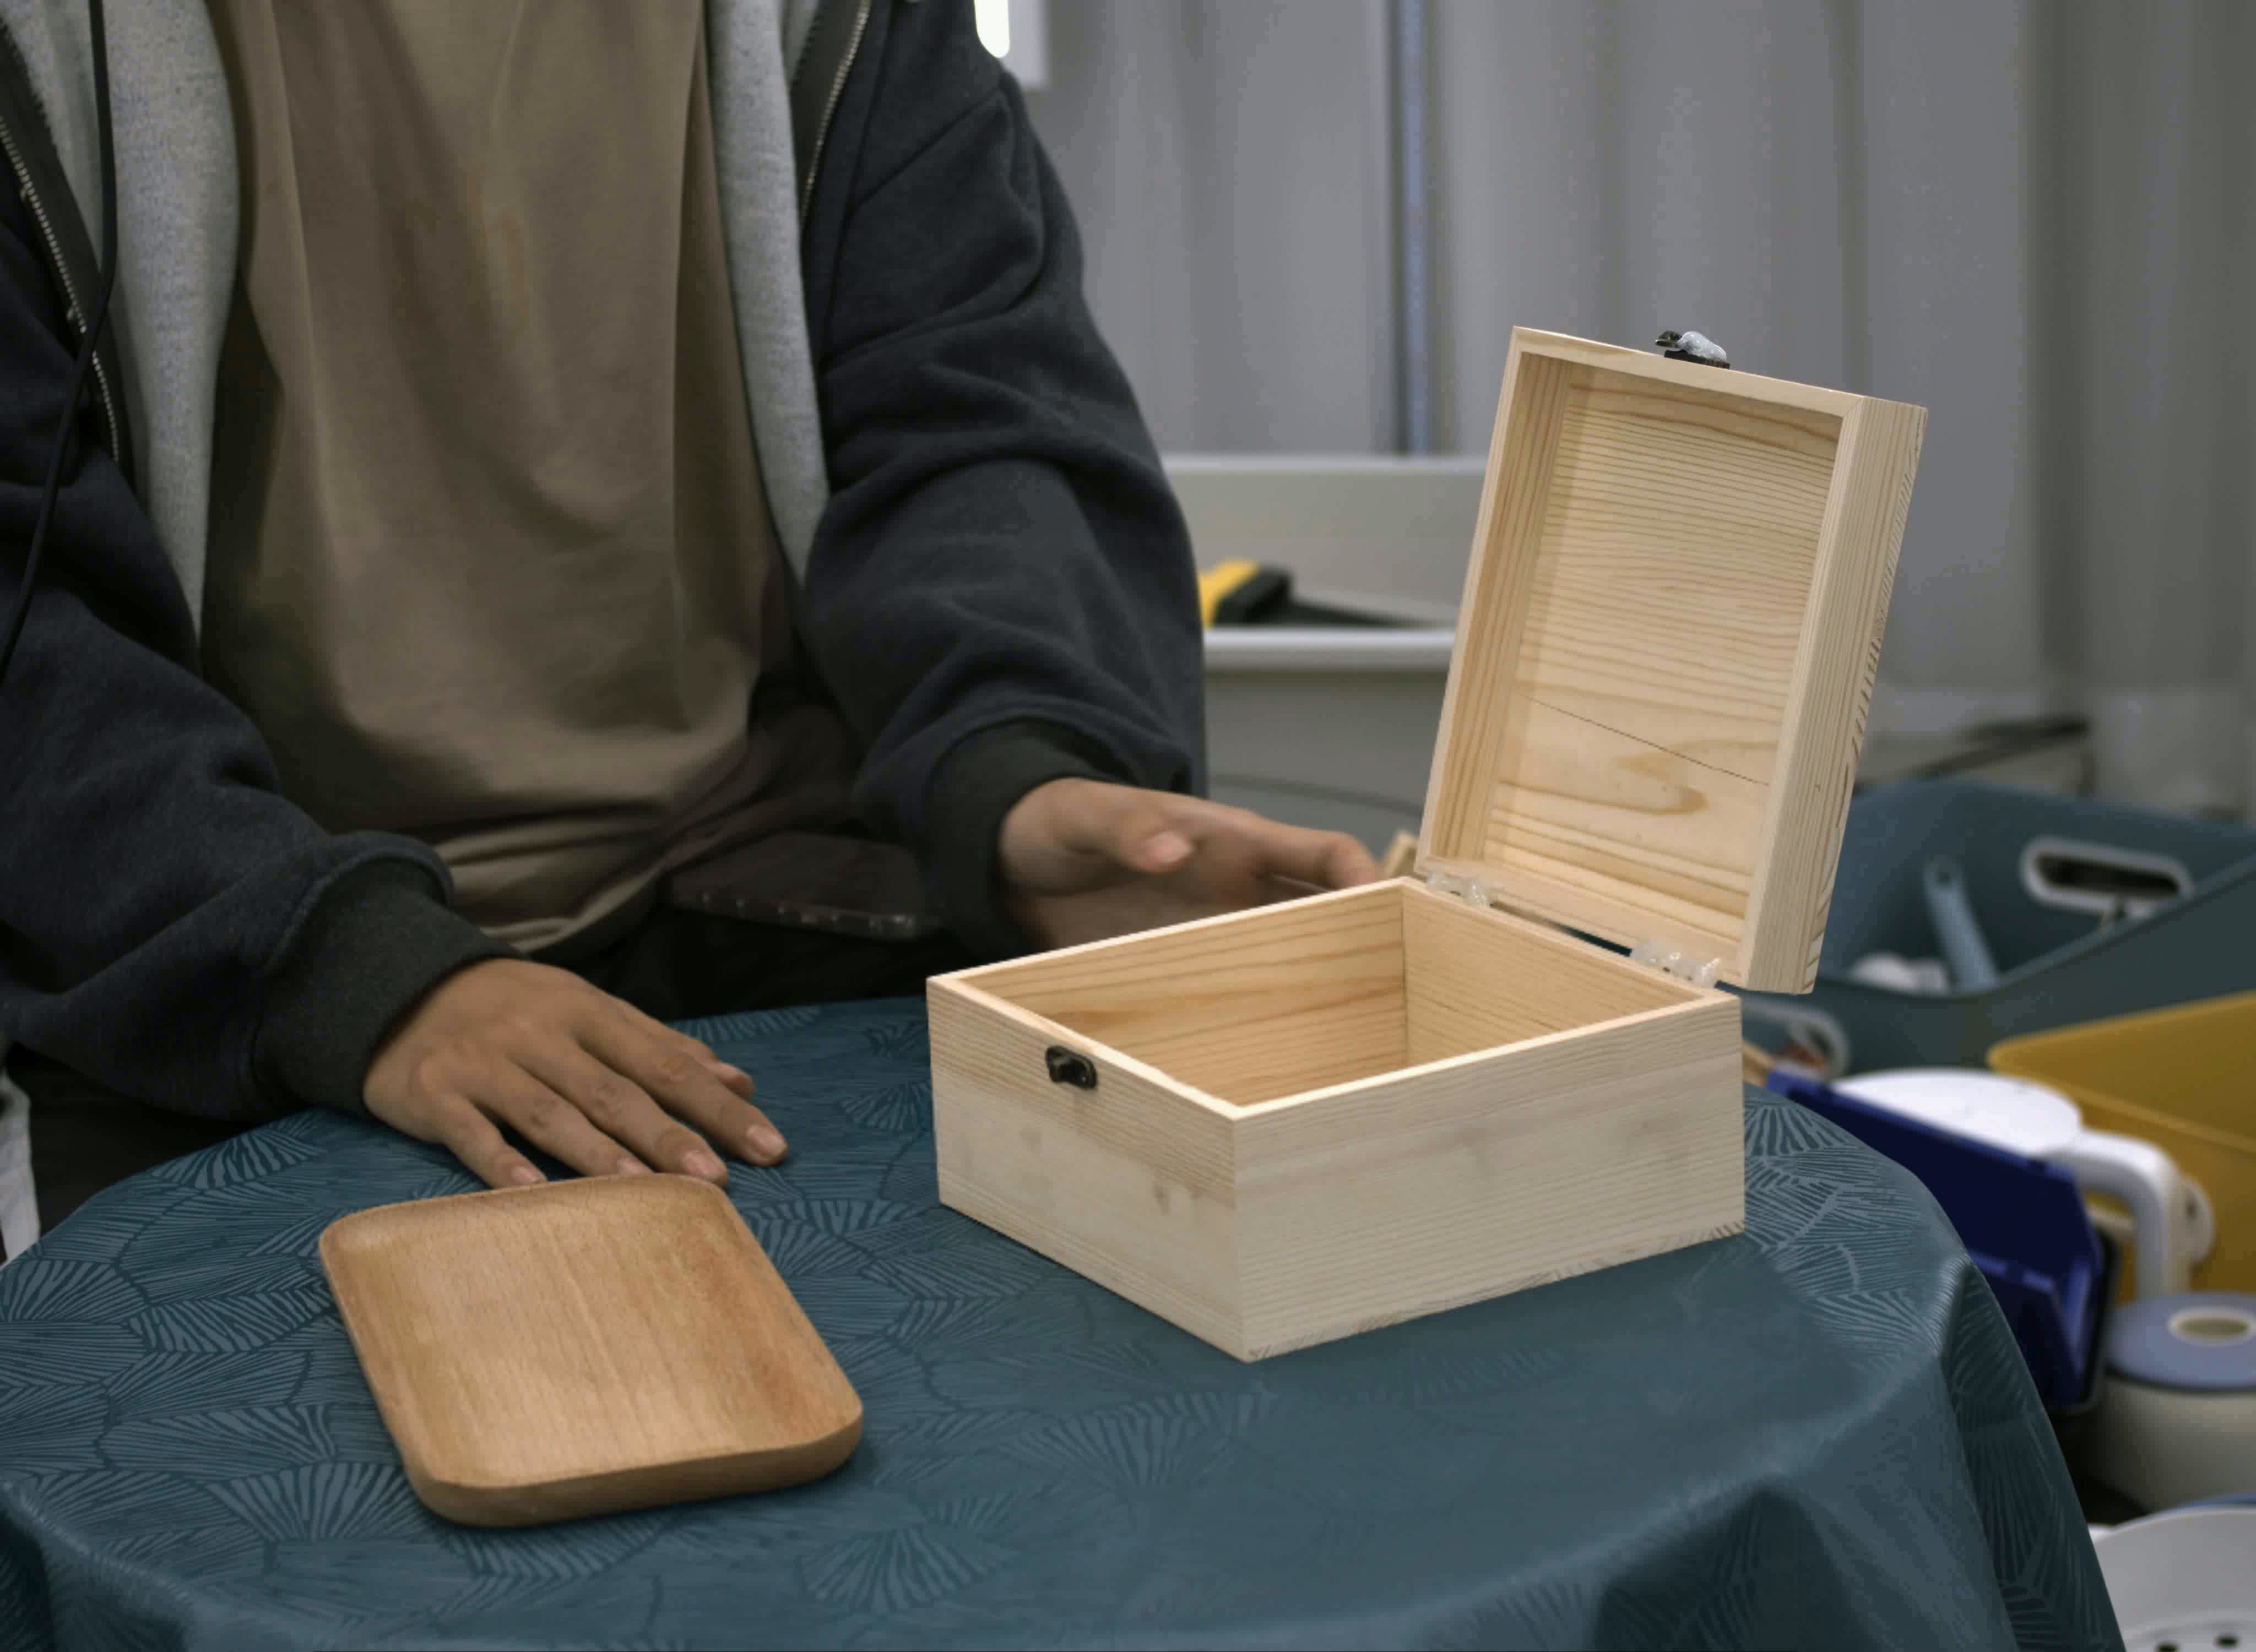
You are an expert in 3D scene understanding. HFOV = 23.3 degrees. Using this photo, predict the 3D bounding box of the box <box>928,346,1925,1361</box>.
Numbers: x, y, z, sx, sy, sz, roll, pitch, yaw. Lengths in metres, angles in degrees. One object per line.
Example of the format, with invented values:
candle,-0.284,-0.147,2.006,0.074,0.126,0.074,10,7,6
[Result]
box,0.087,-0.003,1.671,0.264,0.252,0.183,-10,13,-30

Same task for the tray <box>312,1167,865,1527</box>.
tray,-0.160,0.148,1.587,0.130,0.023,0.252,-4,14,-14
